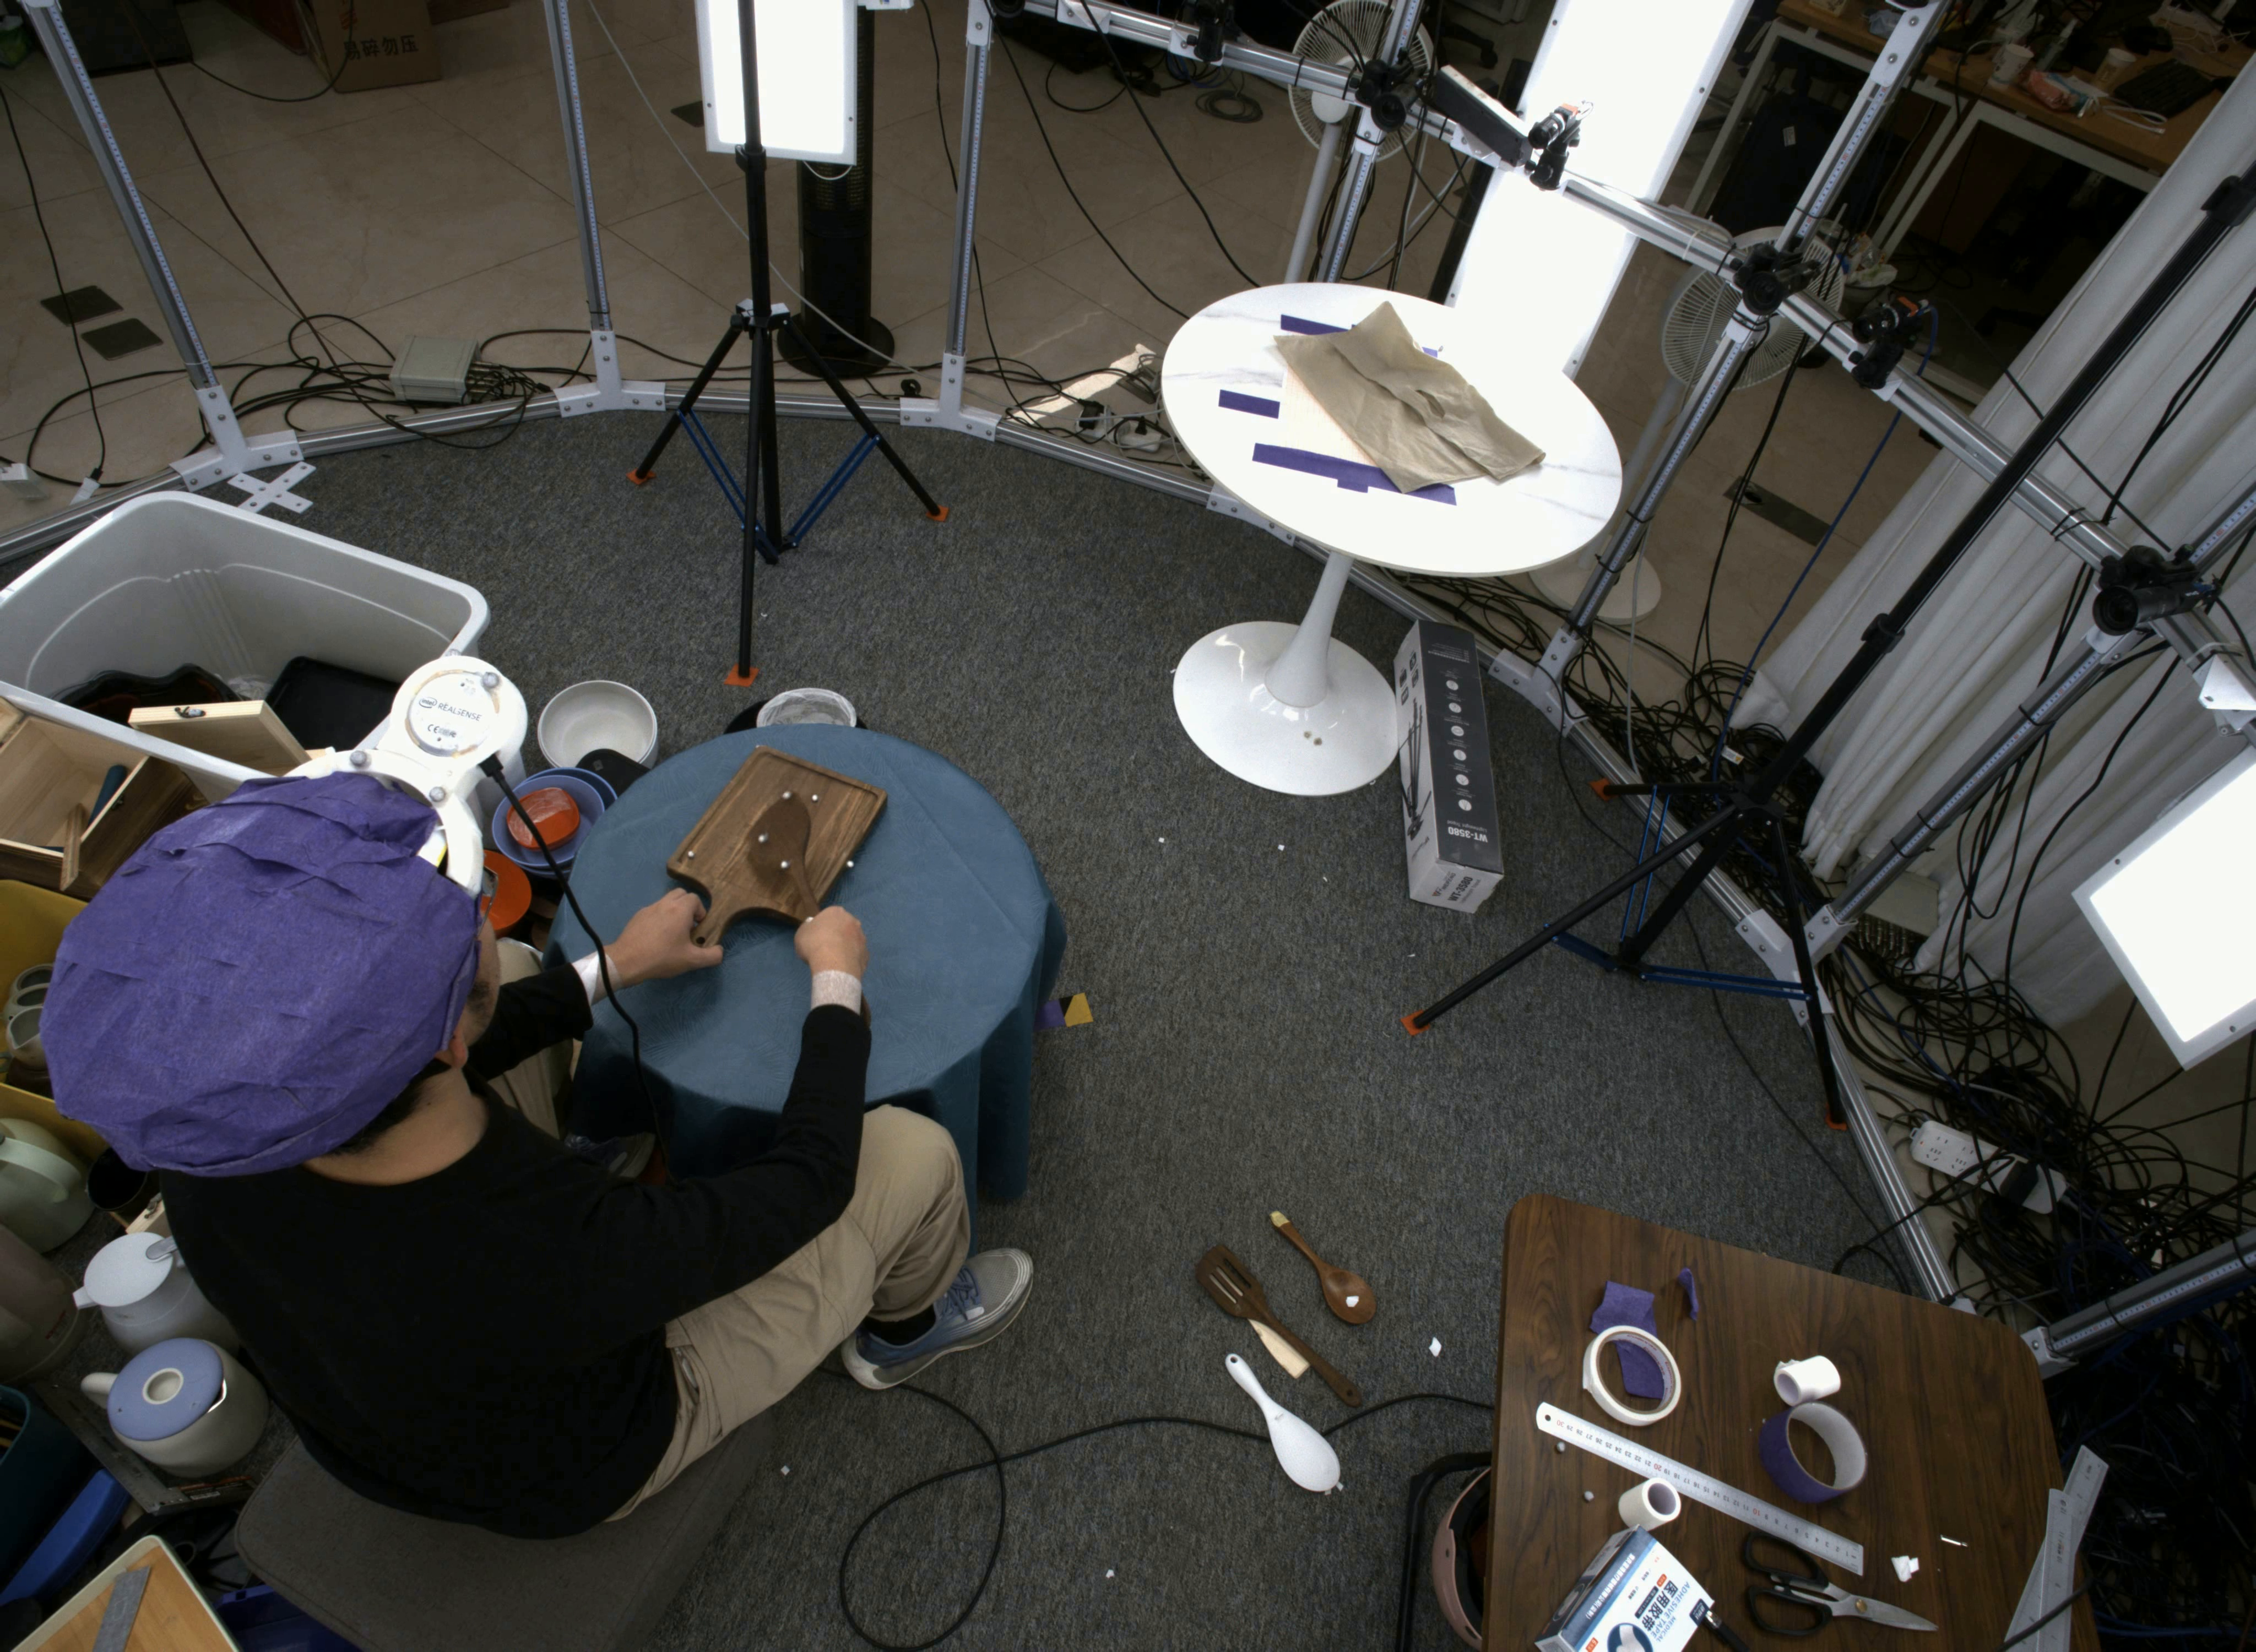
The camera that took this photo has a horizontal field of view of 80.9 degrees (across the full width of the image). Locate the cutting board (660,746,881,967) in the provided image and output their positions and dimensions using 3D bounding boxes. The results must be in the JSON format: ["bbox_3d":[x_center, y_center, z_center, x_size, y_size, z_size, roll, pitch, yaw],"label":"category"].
[{"bbox_3d":[-0.472,0.040,1.644,0.199,0.024,0.348,21,46,1],"label":"cutting board"}]

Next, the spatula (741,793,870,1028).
[{"bbox_3d":[-0.374,0.097,1.520,0.096,0.016,0.372,-45,50,8],"label":"spatula"}]
